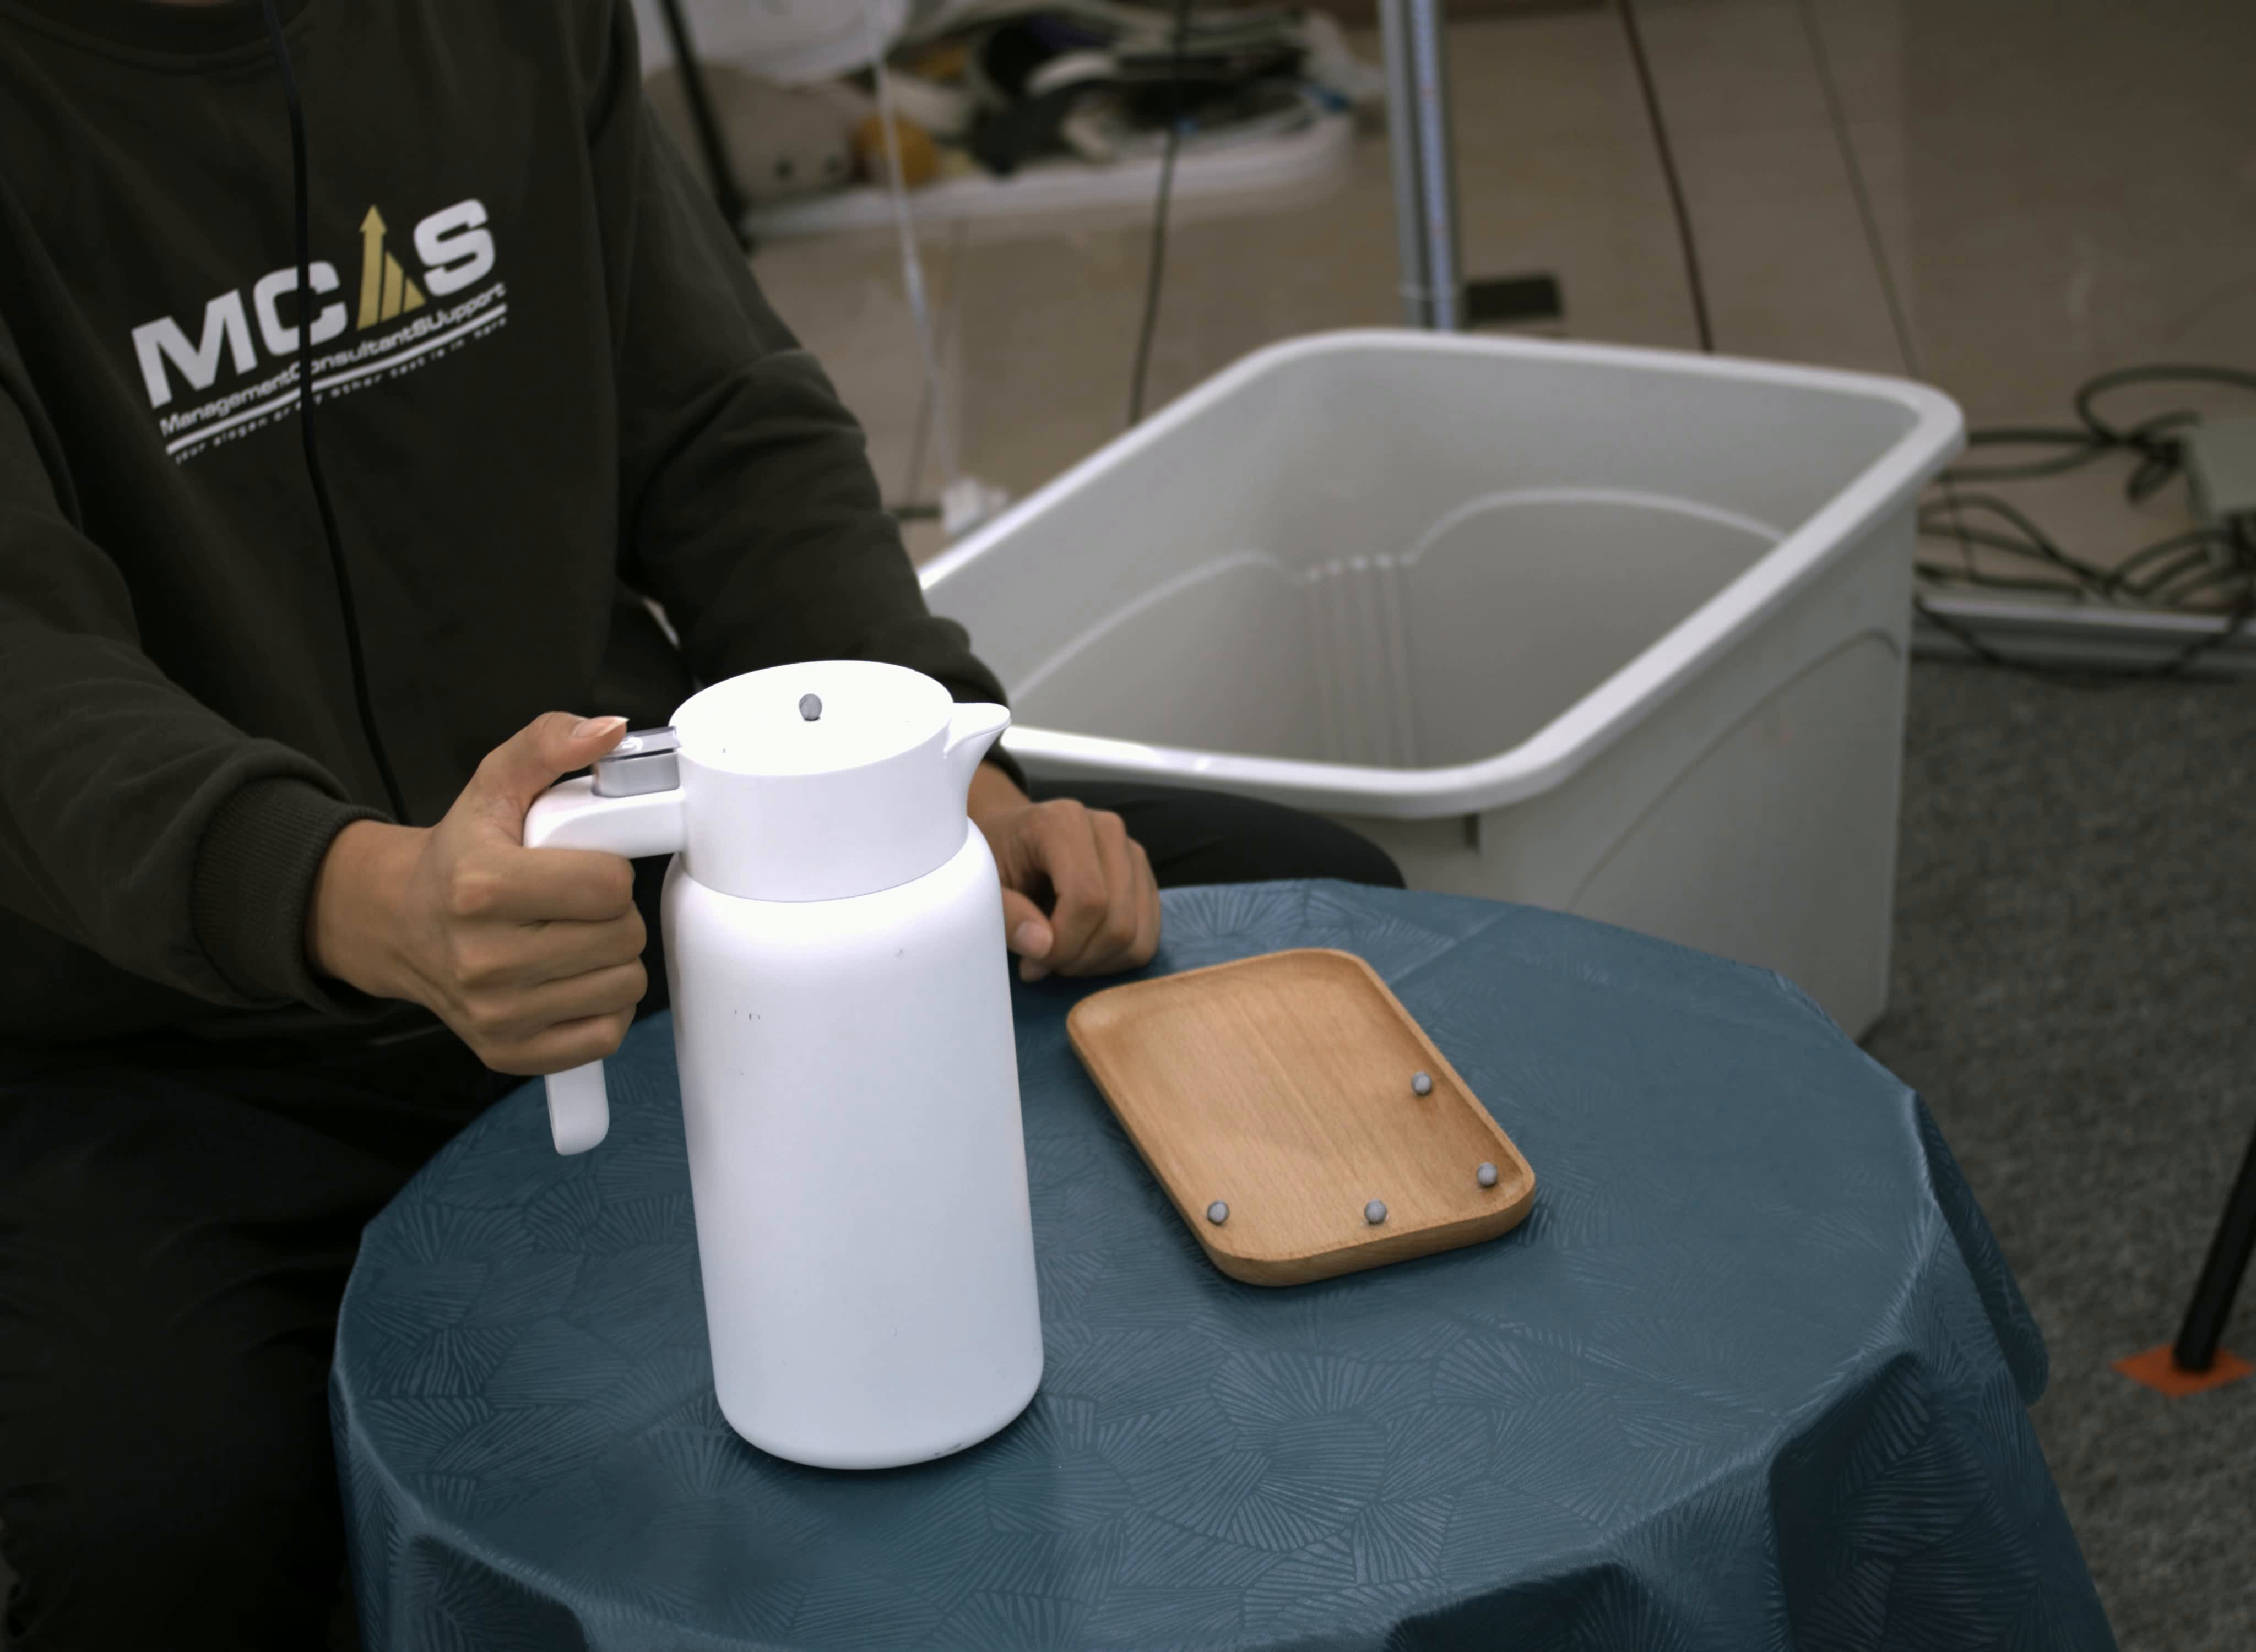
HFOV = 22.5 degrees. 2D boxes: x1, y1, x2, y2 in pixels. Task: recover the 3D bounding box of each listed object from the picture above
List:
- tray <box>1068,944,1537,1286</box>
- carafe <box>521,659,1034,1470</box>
[{"bbox_3d":[0.064,0.109,2.178,0.130,0.023,0.247,-9,24,-12],"label":"tray"},{"bbox_3d":[-0.115,0.085,1.960,0.172,0.273,0.122,-8,27,-9],"label":"carafe"}]
